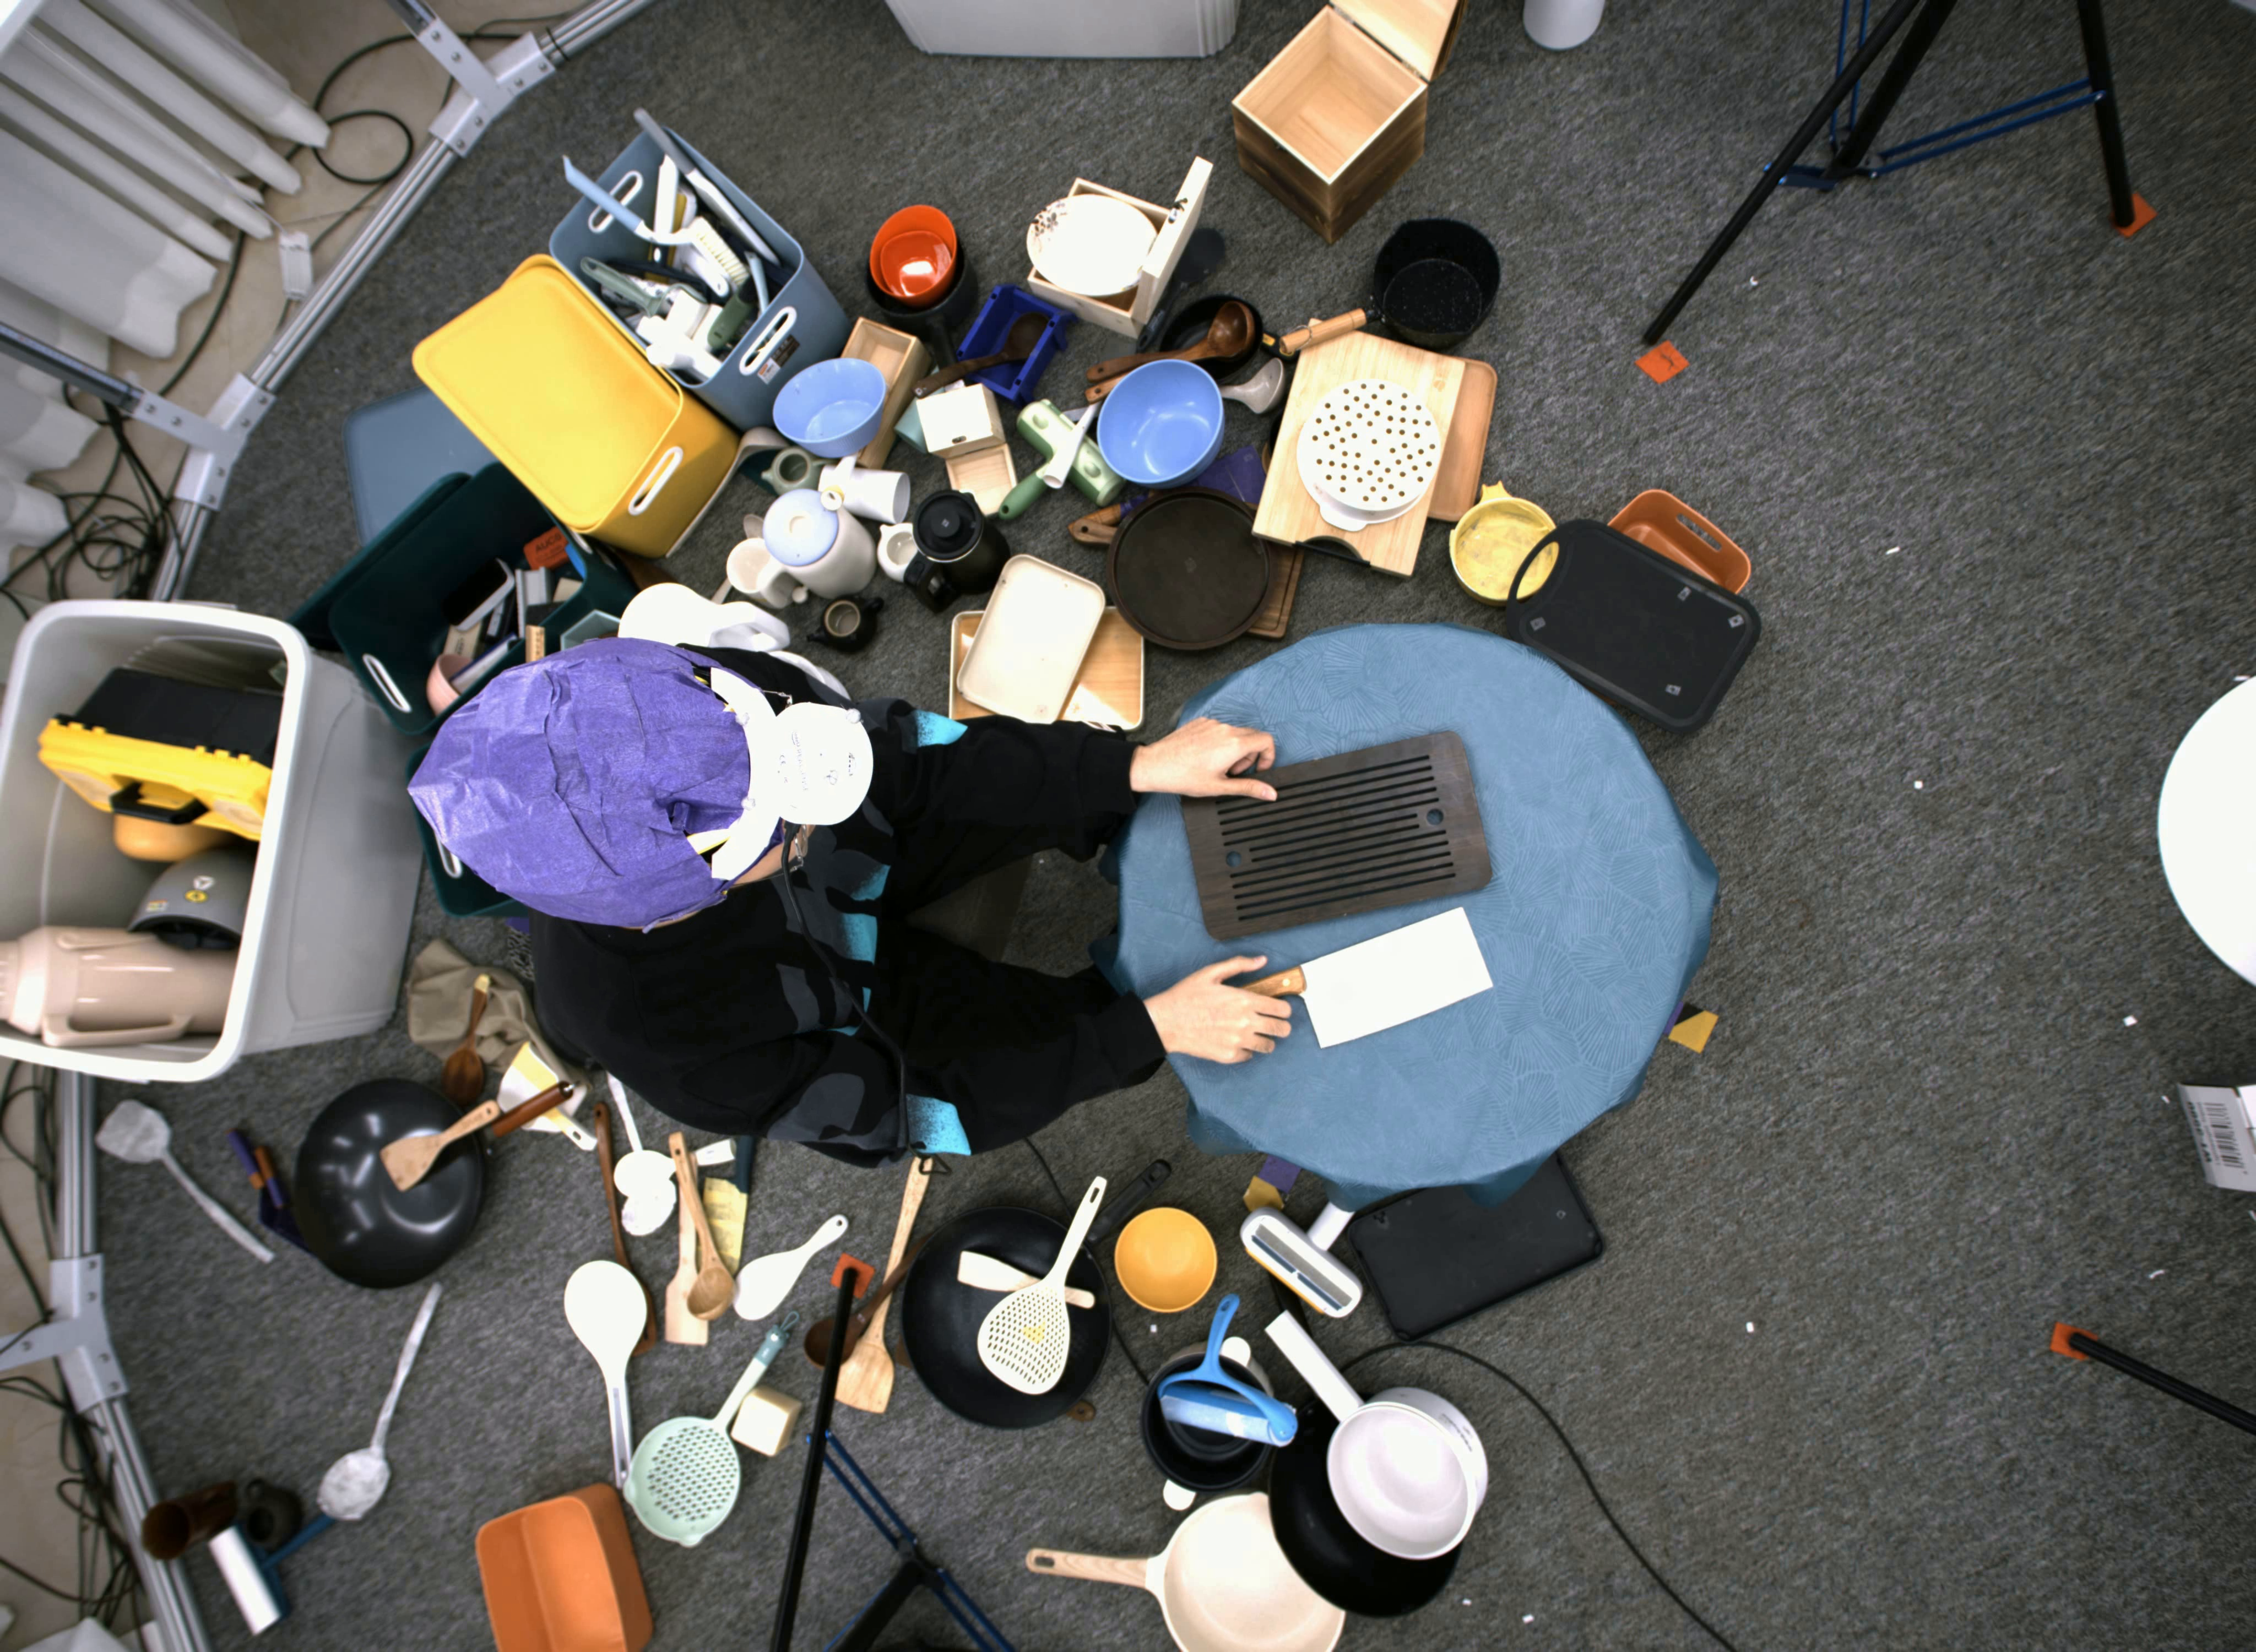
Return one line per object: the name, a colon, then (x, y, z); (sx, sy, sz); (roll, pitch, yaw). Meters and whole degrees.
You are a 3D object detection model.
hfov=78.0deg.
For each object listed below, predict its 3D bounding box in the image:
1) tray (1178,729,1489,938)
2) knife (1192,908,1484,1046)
tray: (0.216, 0.008, 1.464); (0.307, 0.018, 0.169); (-12, 85, 10)
knife: (0.223, 0.176, 1.455); (0.307, 0.021, 0.092); (-21, 85, 6)
